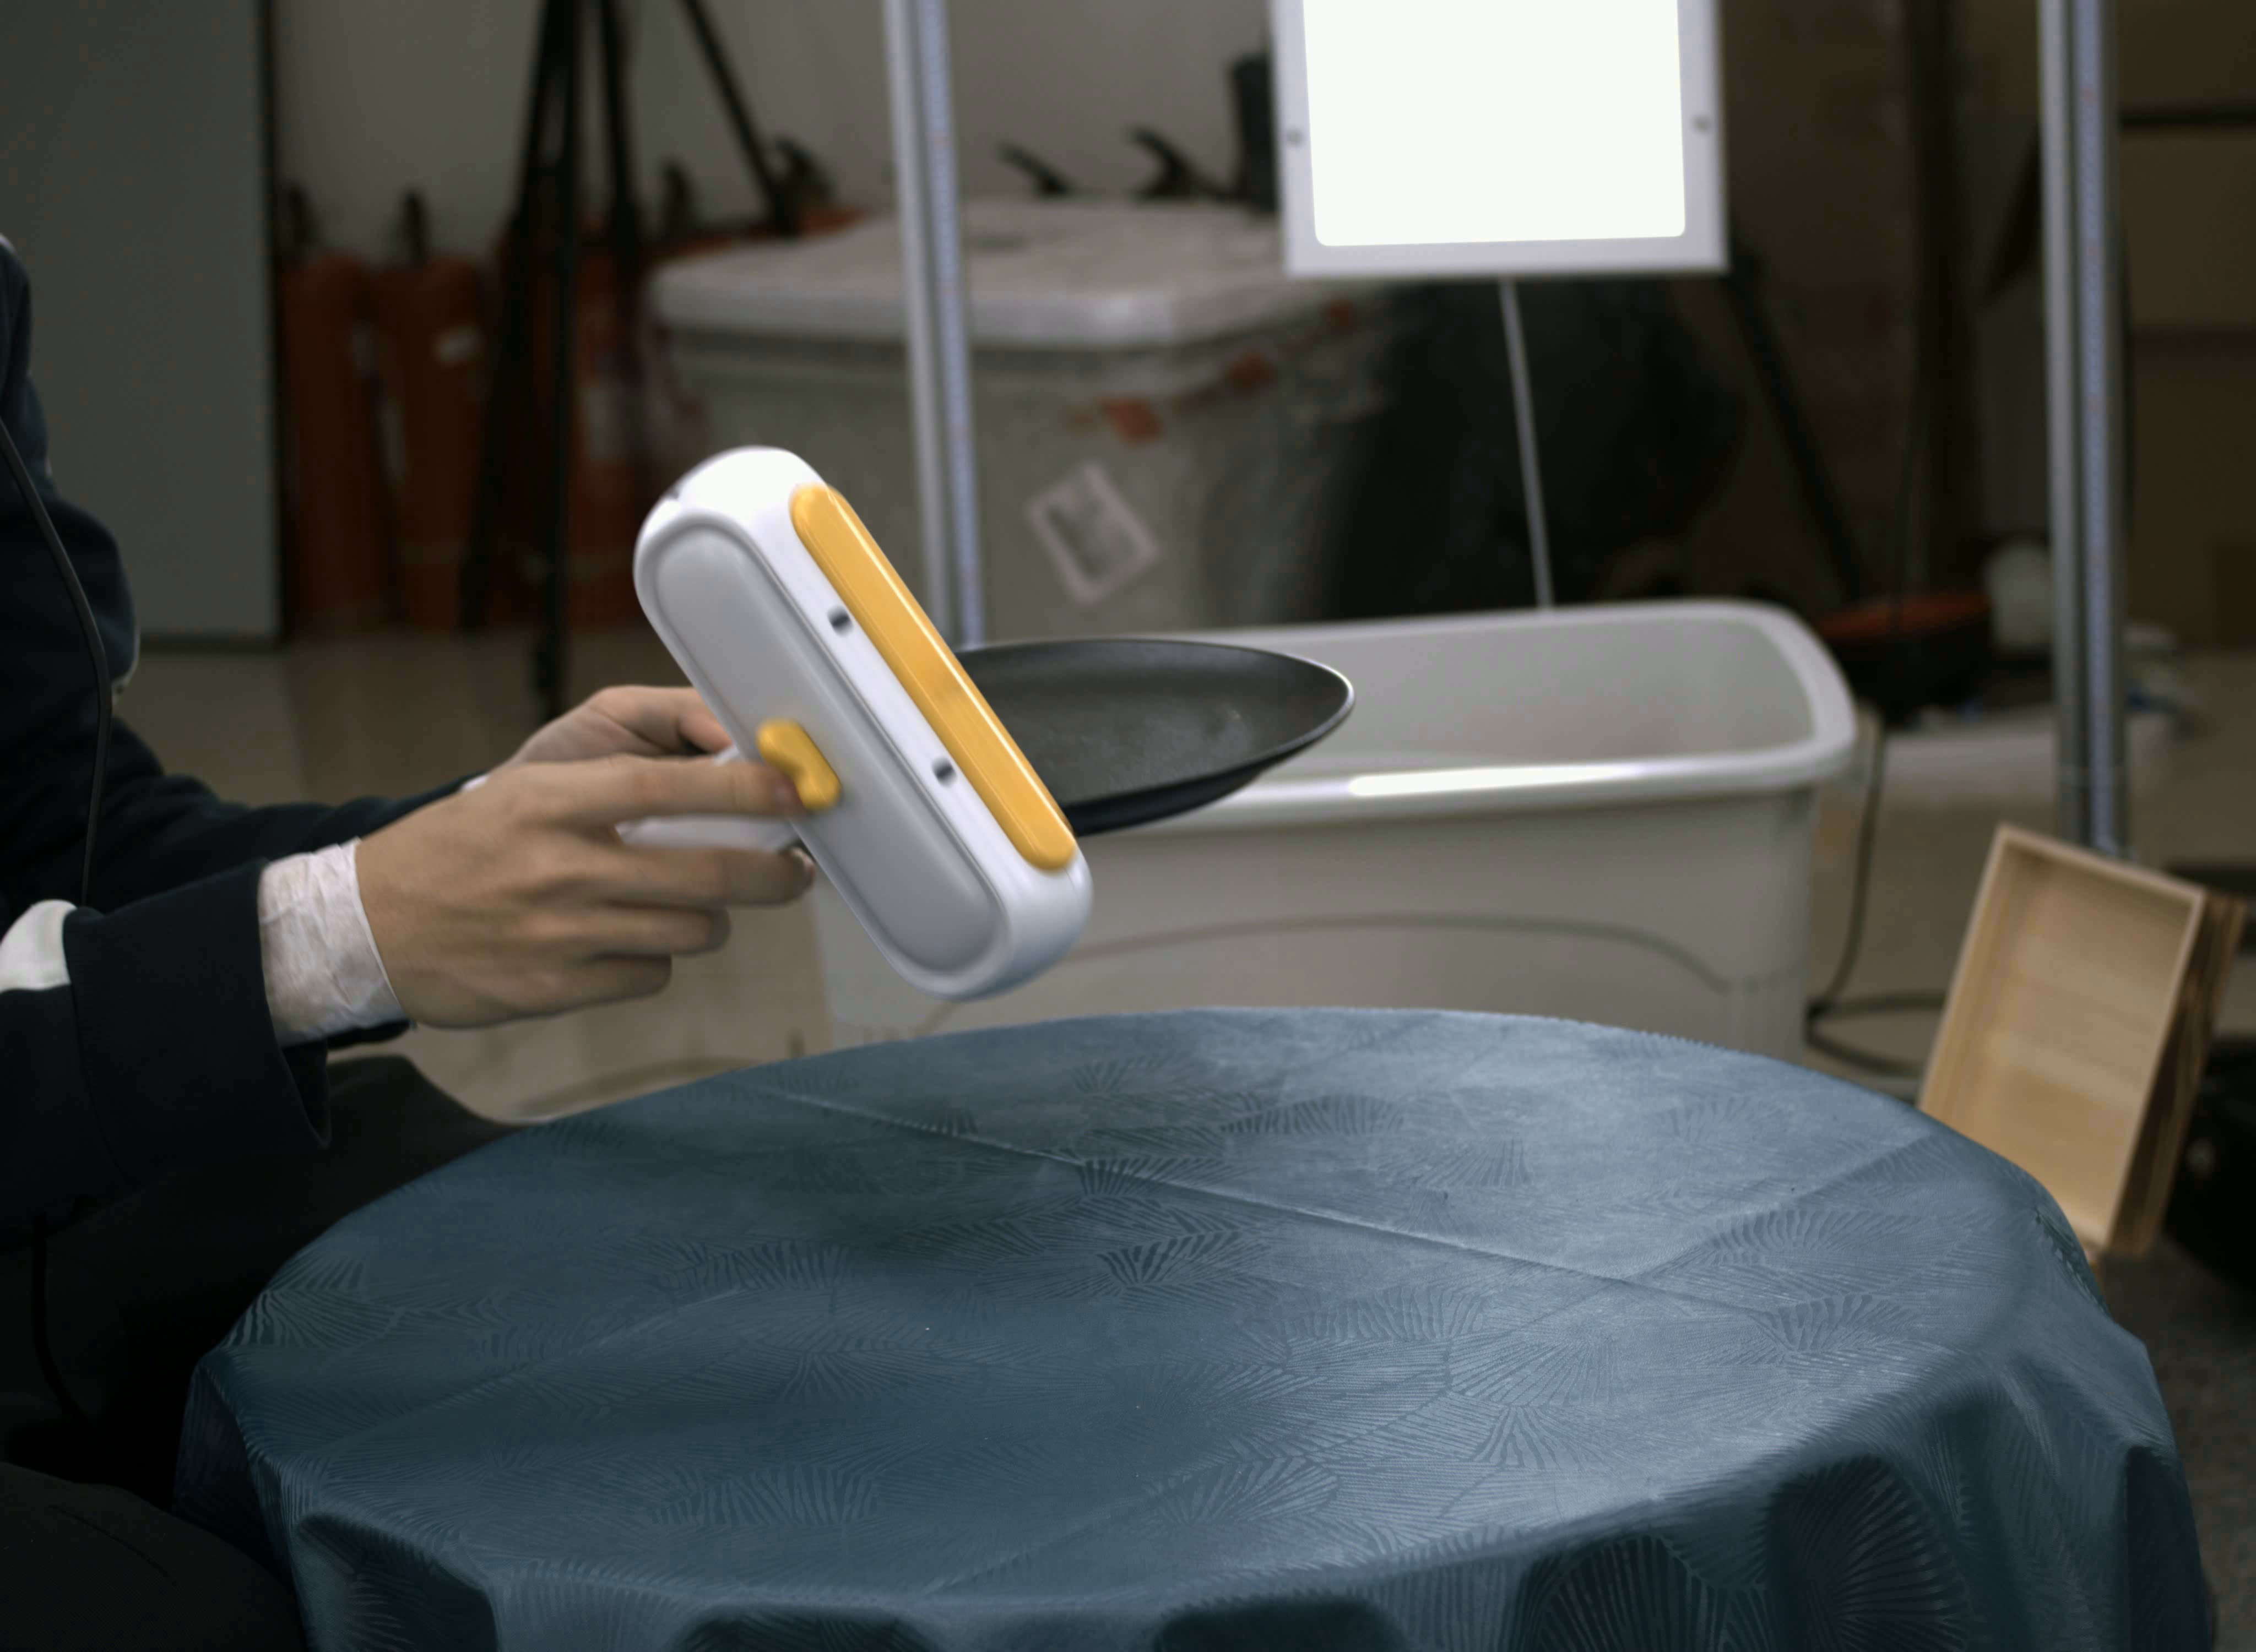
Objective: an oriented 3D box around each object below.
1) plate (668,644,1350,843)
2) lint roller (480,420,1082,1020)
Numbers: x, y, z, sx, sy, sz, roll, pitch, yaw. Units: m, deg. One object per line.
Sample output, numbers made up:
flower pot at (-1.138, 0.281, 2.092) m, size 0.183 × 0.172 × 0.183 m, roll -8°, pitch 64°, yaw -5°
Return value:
plate at (-0.041, -0.027, 1.949) m, size 0.244 × 0.023 × 0.244 m, roll -7°, pitch 14°, yaw 0°
lint roller at (-0.132, -0.007, 1.768) m, size 0.196 × 0.193 × 0.073 m, roll -40°, pitch 2°, yaw 33°
